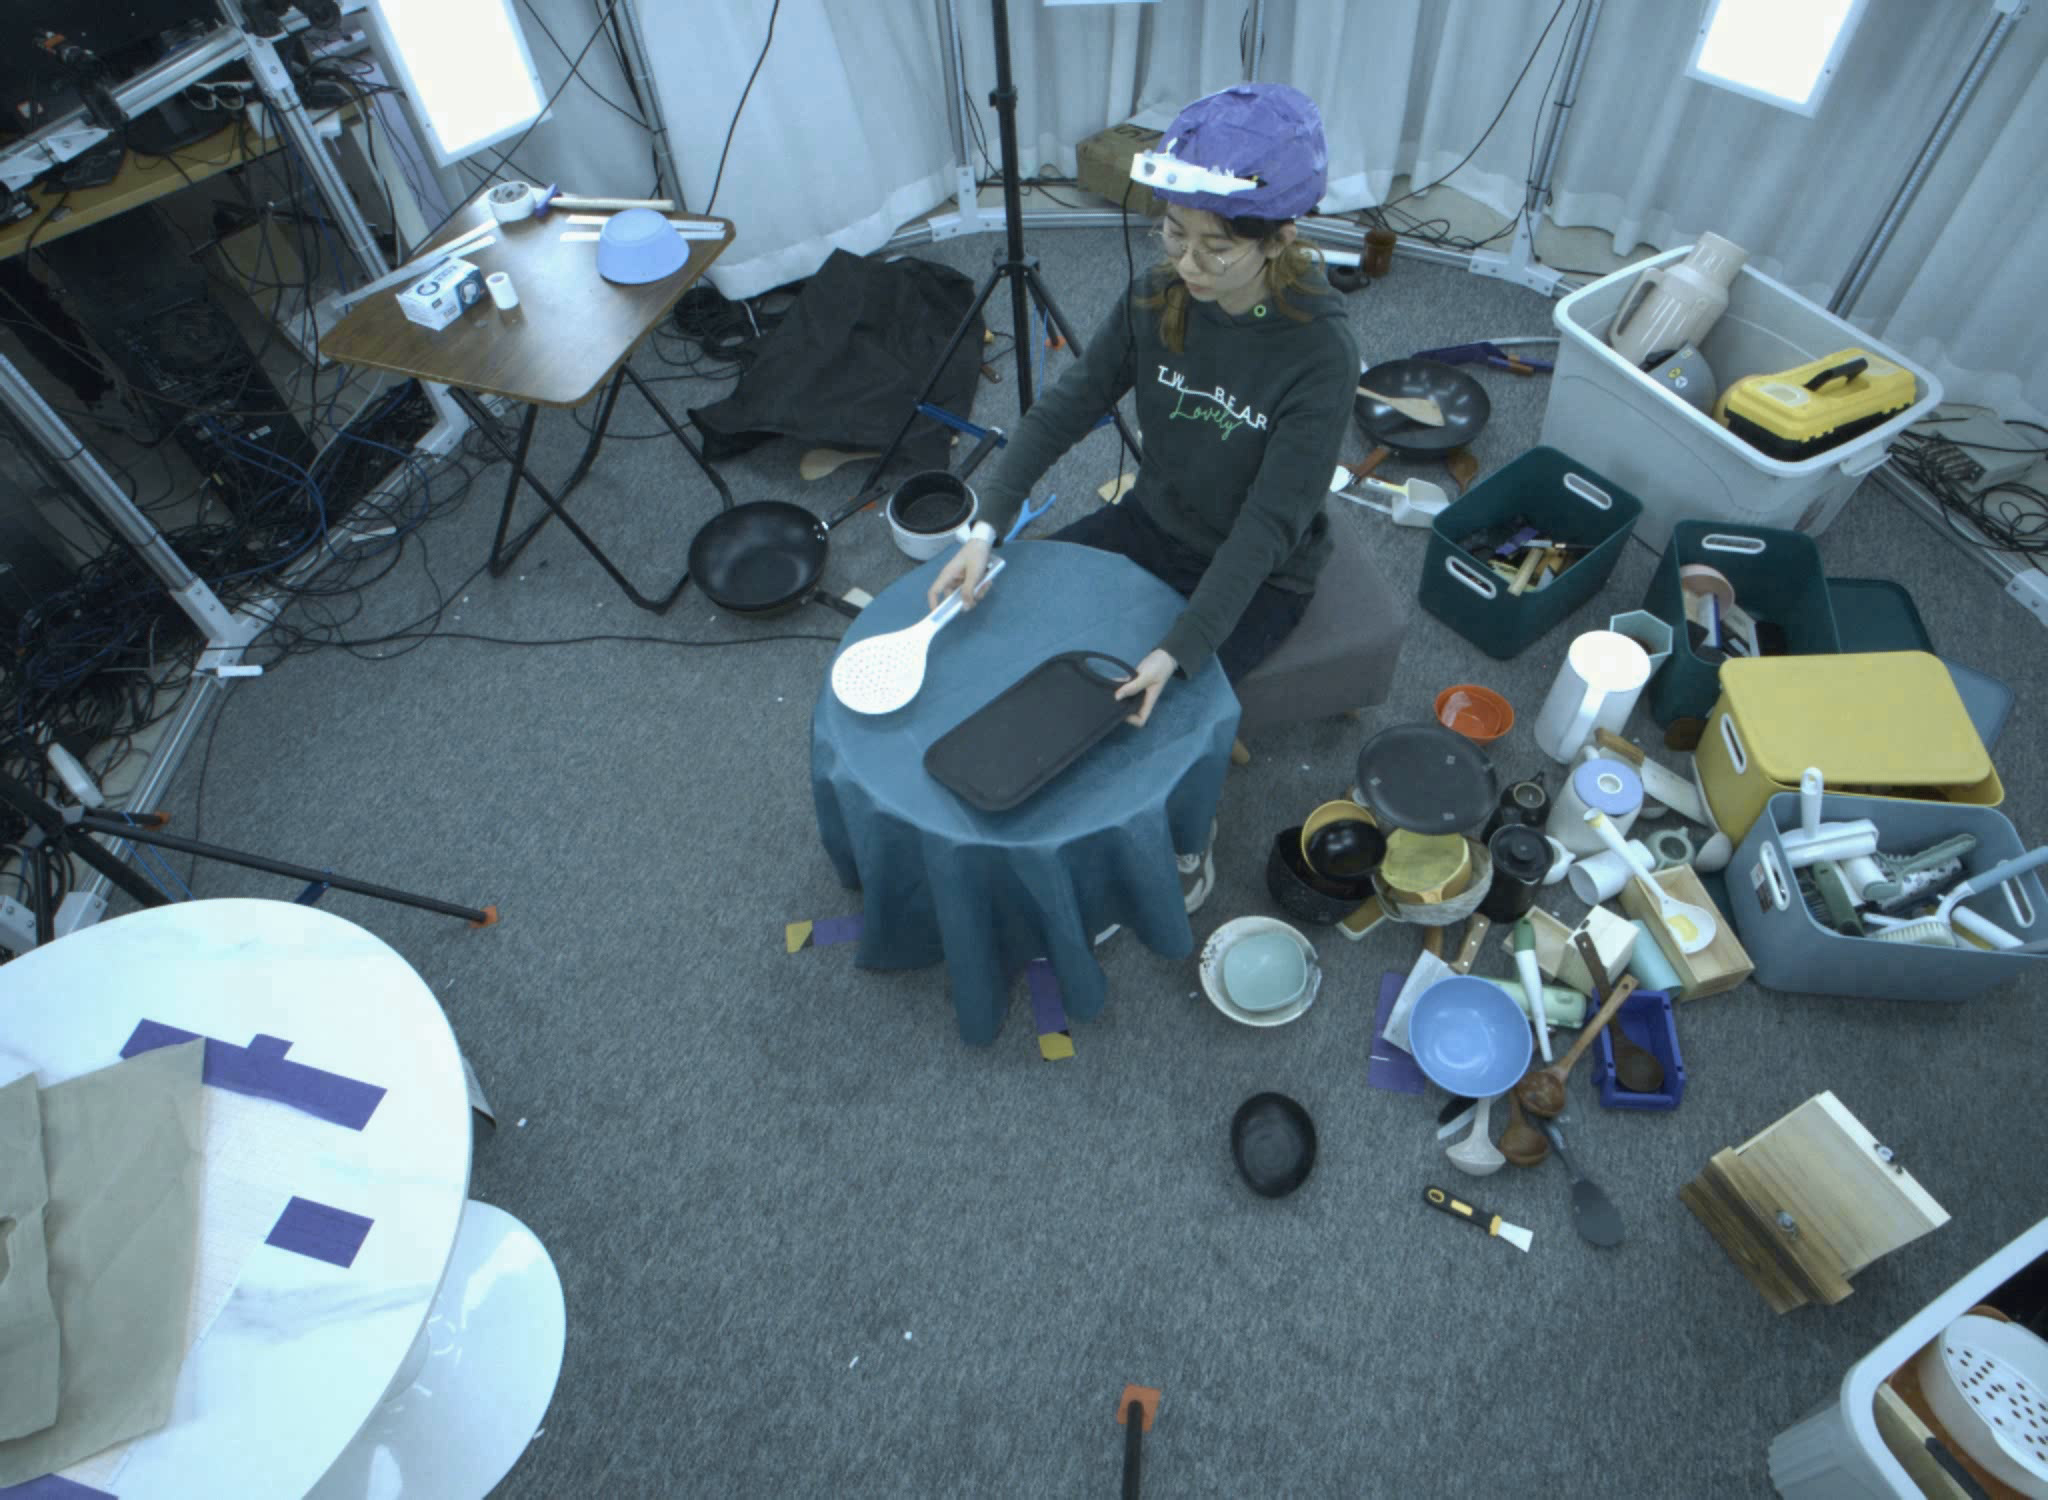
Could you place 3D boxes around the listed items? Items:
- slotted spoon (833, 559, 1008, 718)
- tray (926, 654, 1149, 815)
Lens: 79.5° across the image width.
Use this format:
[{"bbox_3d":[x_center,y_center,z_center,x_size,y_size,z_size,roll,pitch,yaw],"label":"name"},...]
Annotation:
[{"bbox_3d":[-0.147,-0.176,1.875,0.134,0.046,0.351,36,72,17],"label":"slotted spoon"},{"bbox_3d":[0.024,-0.035,1.777,0.327,0.010,0.206,-37,44,-20],"label":"tray"}]
